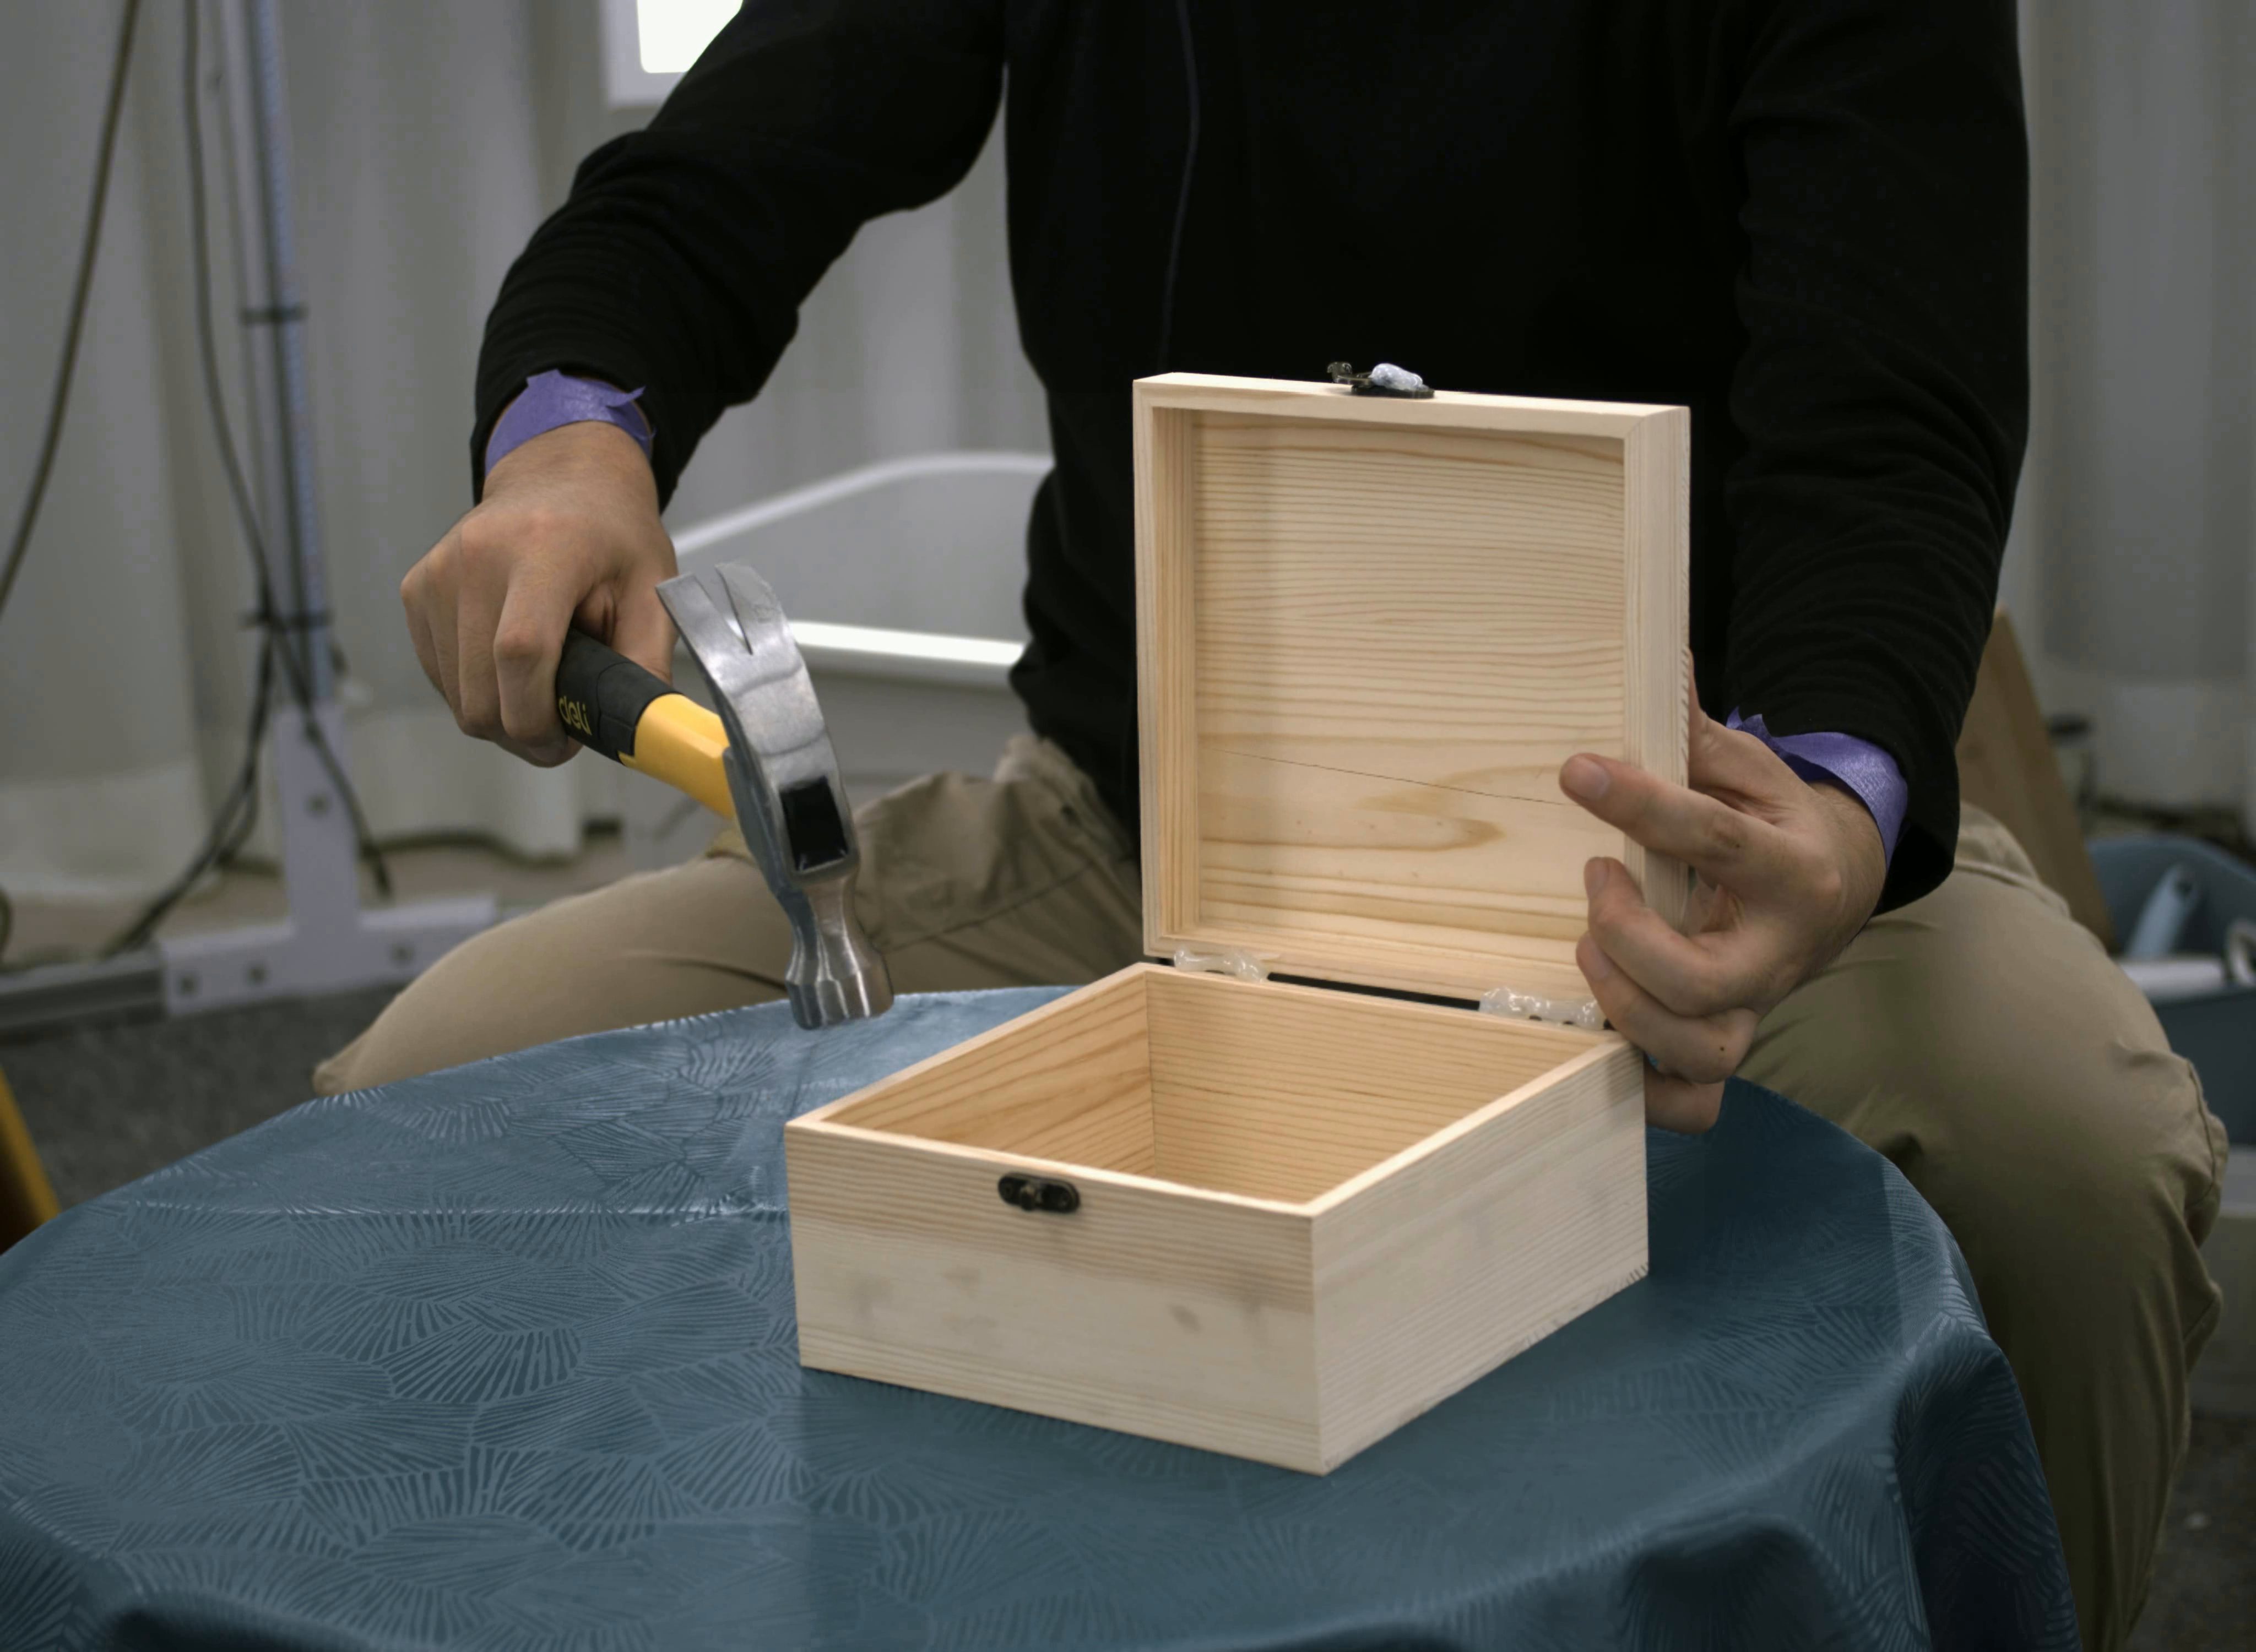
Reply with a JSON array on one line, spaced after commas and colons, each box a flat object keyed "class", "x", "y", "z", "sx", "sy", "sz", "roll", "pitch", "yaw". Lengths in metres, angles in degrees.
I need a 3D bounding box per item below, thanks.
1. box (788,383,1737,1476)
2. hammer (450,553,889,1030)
[{"class": "box", "x": 0.042, "y": 0.017, "z": 1.592, "sx": 0.182, "sy": 0.252, "sz": 0.265, "roll": 4, "pitch": 16, "yaw": 34}, {"class": "hammer", "x": -0.153, "y": -0.033, "z": 1.714, "sx": 0.032, "sy": 0.131, "sz": 0.340, "roll": -16, "pitch": 15, "yaw": -19}]
